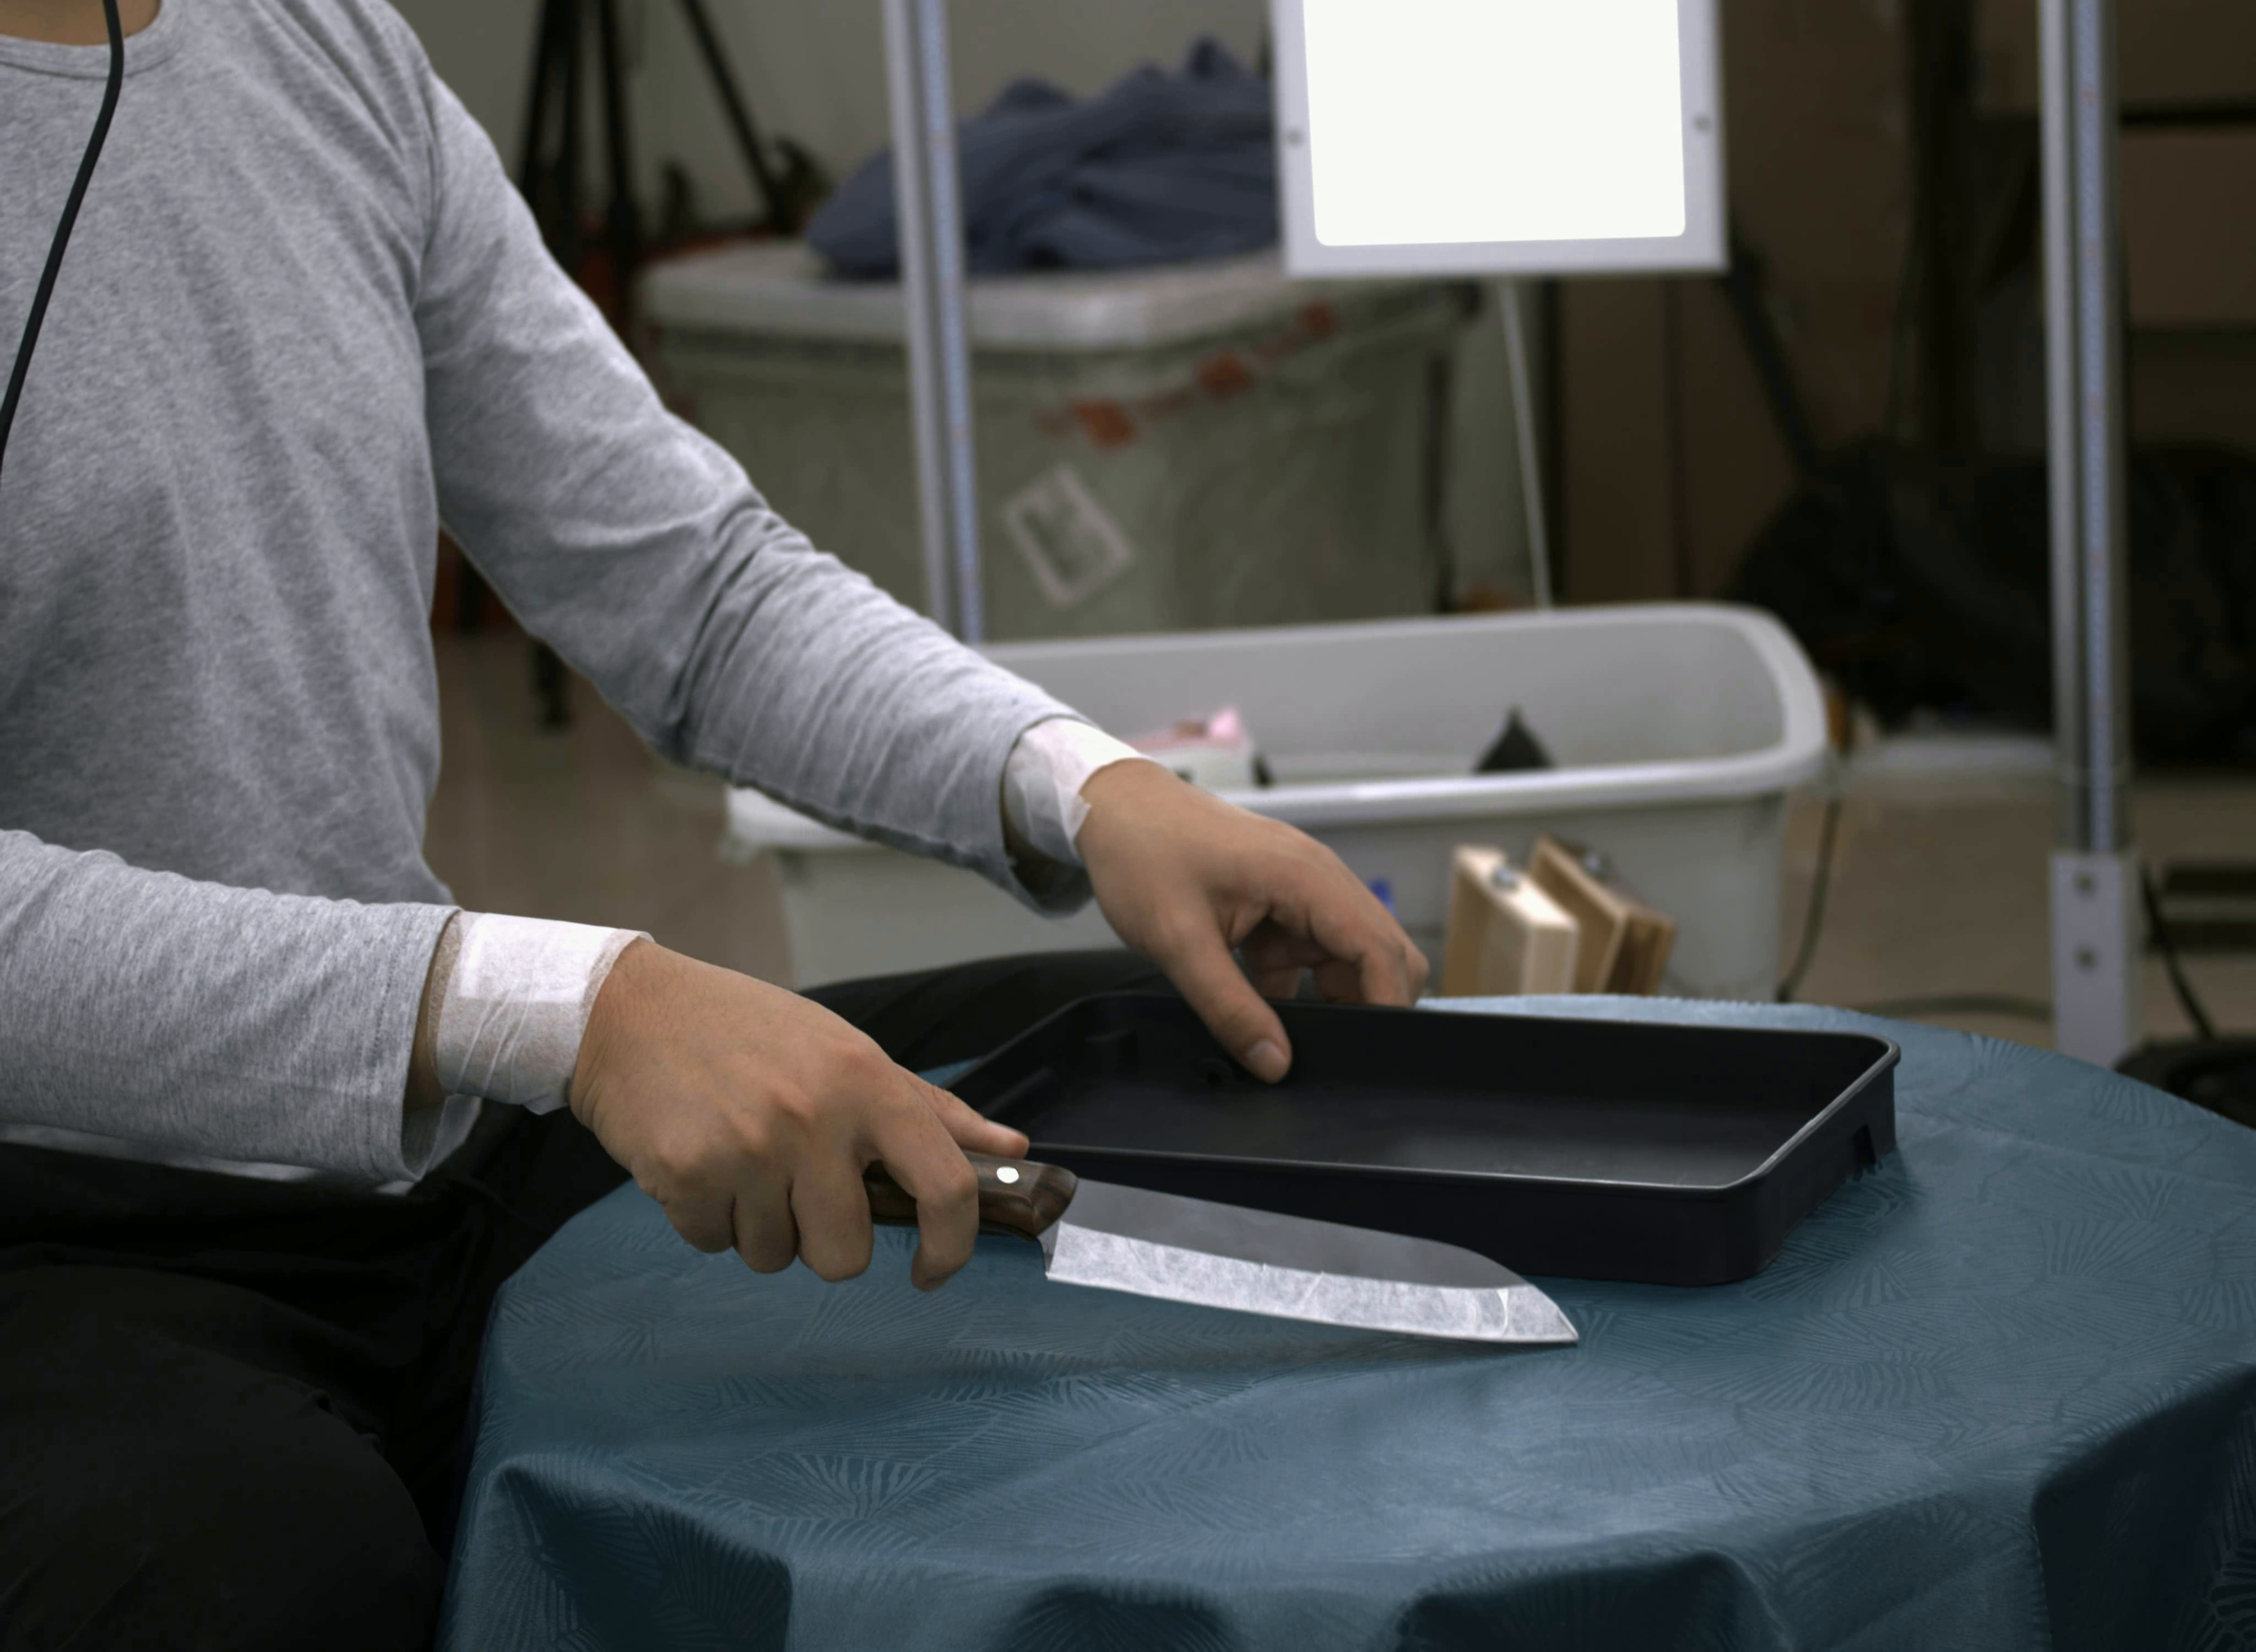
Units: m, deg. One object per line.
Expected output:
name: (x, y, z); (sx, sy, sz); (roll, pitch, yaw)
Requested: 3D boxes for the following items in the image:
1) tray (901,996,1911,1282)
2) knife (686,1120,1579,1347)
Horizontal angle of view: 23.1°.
tray: (0.097, 0.104, 1.884); (0.323, 0.037, 0.180); (1, 15, 26)
knife: (0.000, 0.129, 1.725); (0.289, 0.020, 0.050); (11, 46, 6)
